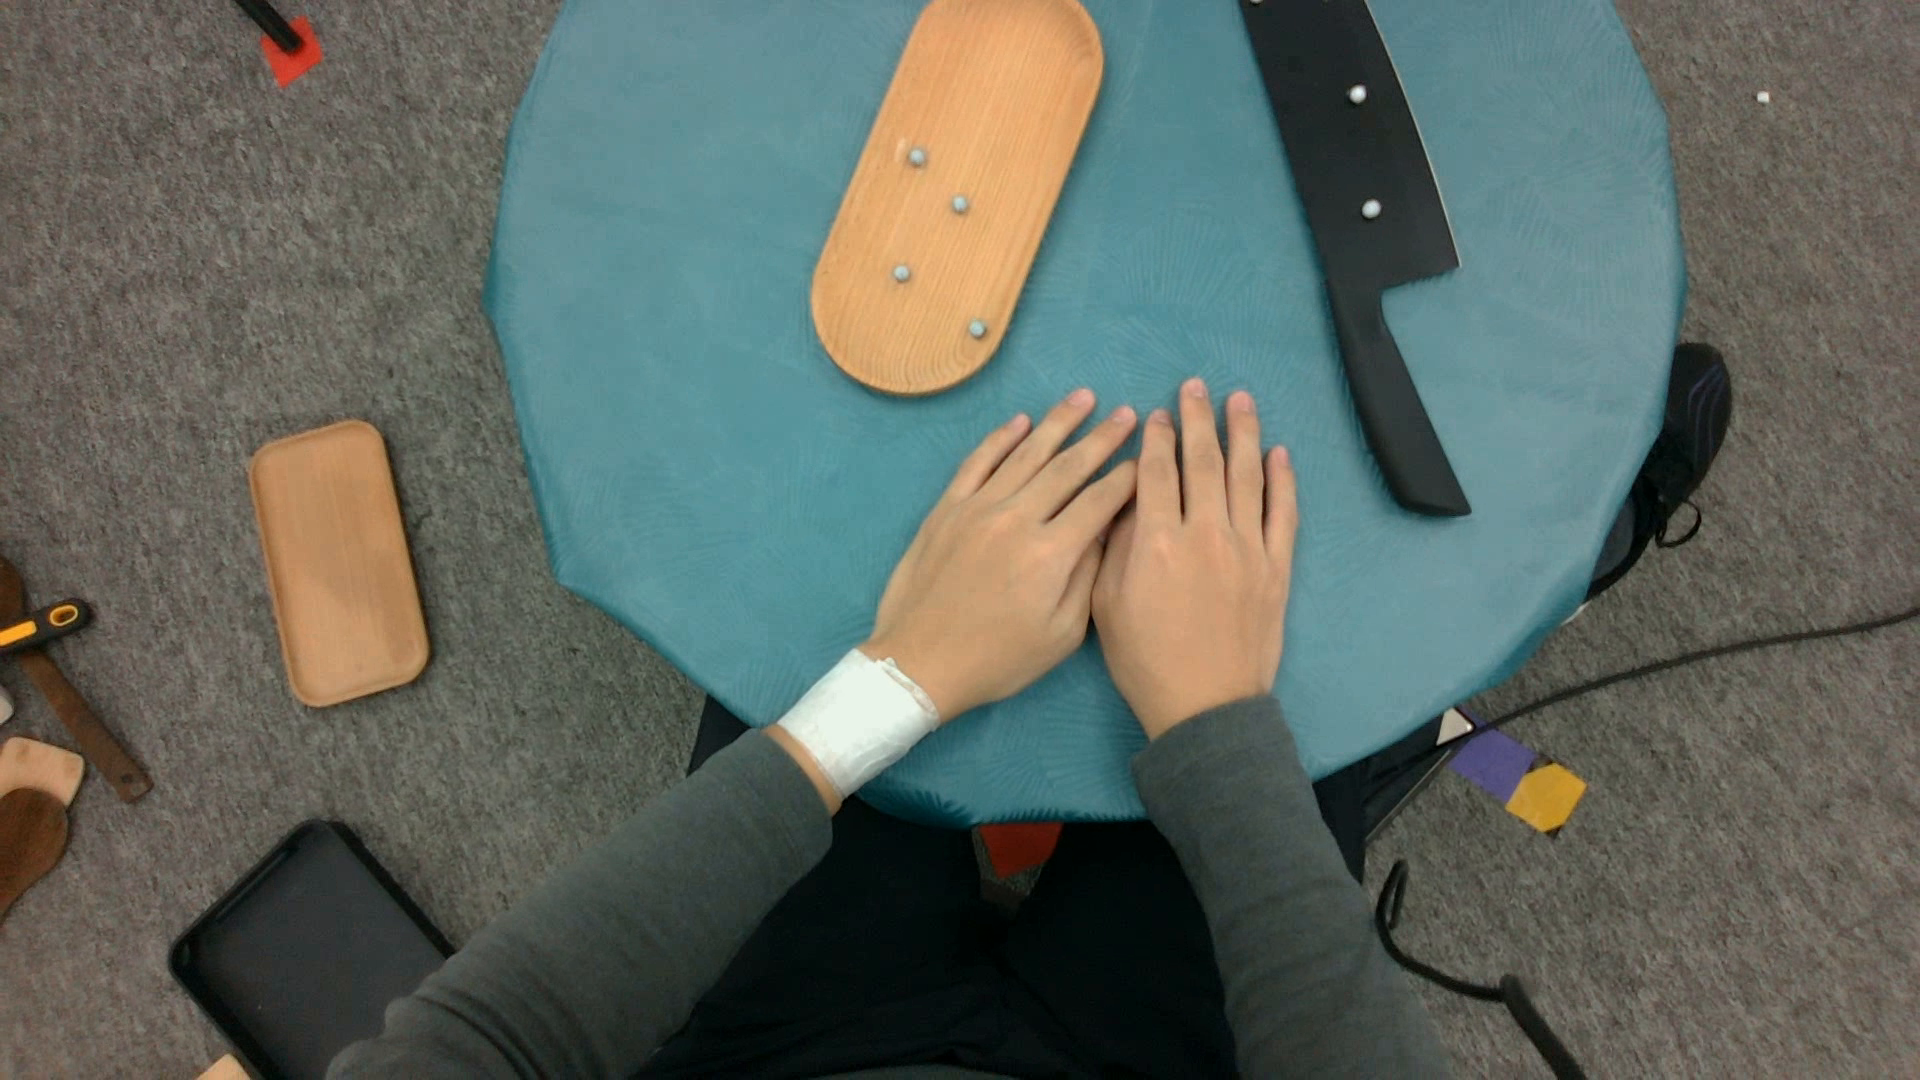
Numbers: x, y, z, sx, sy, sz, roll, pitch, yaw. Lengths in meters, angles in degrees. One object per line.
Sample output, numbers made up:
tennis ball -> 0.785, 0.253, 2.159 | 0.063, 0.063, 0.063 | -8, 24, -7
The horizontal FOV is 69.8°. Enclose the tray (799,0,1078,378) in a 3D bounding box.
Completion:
tray -> -0.010, -0.192, 0.697 | 0.101, 0.020, 0.231 | 17, 82, 2

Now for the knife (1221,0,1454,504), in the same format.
knife -> 0.196, -0.163, 0.689 | 0.081, 0.021, 0.303 | -10, 79, -1
